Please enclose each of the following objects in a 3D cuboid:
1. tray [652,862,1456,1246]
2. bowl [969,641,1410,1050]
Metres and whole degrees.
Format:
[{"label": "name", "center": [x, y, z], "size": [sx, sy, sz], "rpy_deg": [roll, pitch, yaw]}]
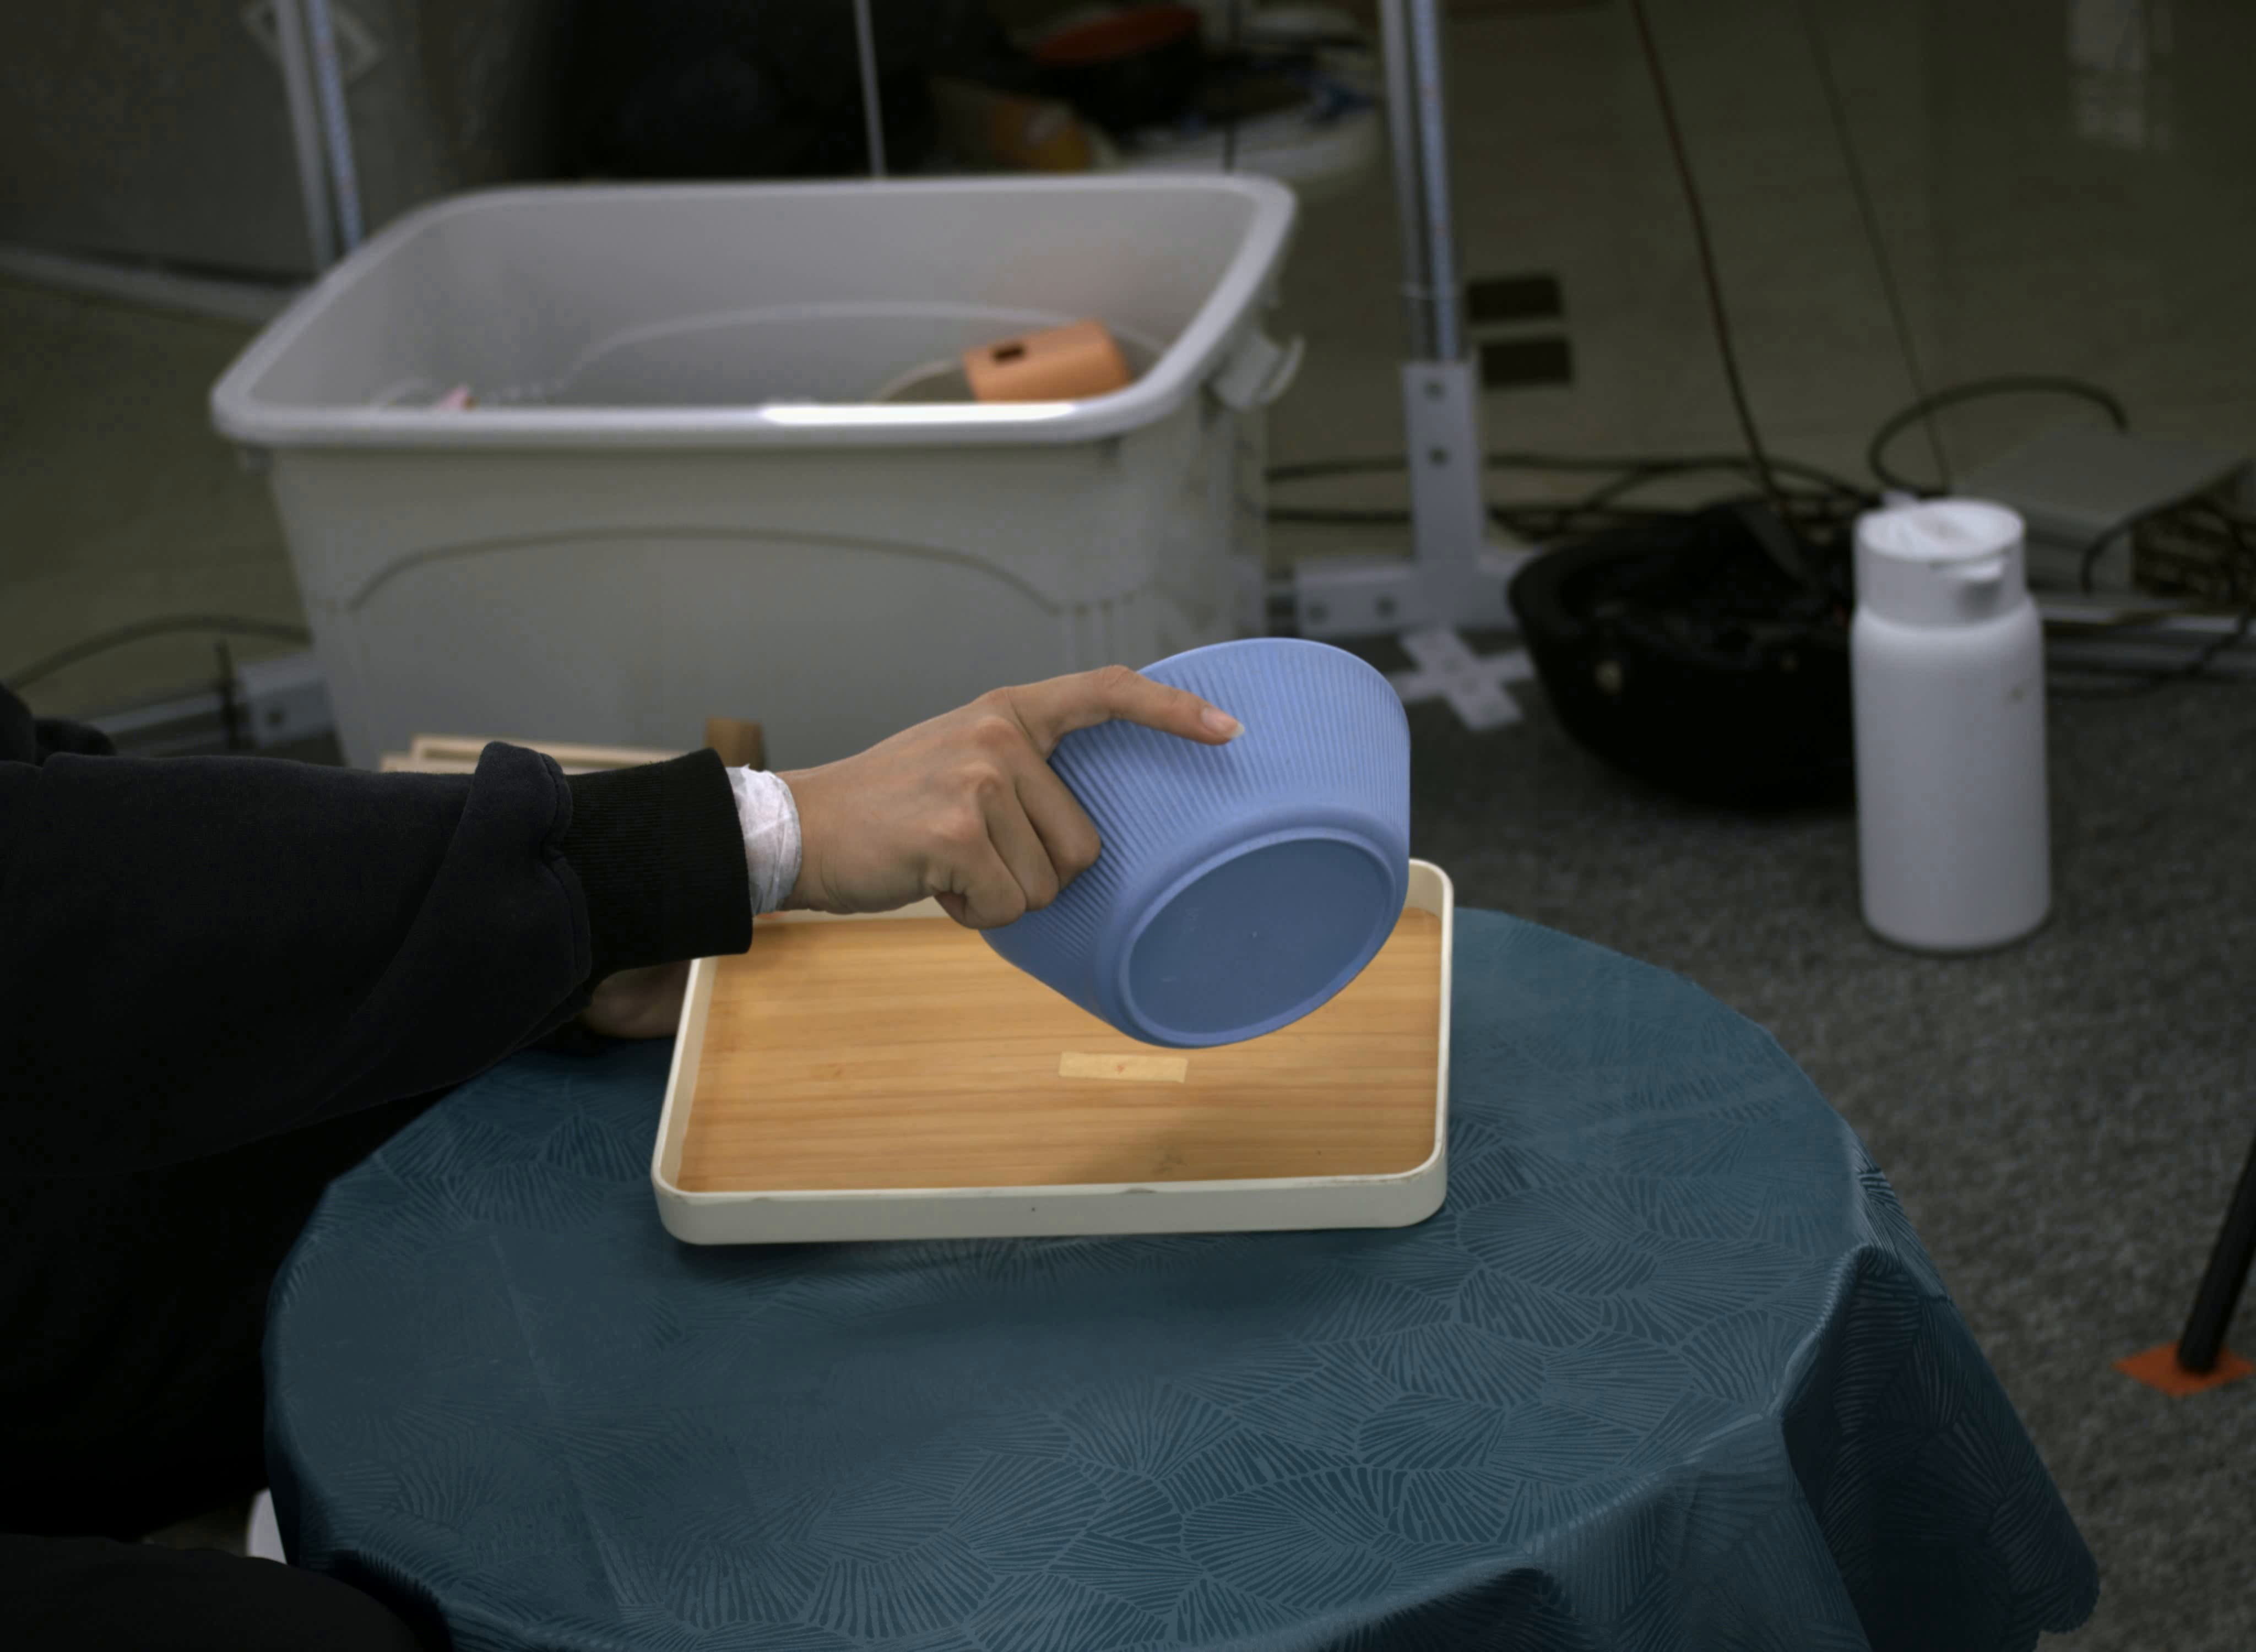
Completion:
[{"label": "tray", "center": [-0.025, 0.086, 2.183], "size": [0.300, 0.028, 0.188], "rpy_deg": [-1, 40, 6]}, {"label": "bowl", "center": [0.035, 0.019, 2.049], "size": [0.175, 0.179, 0.069], "rpy_deg": [-14, 51, -18]}]
